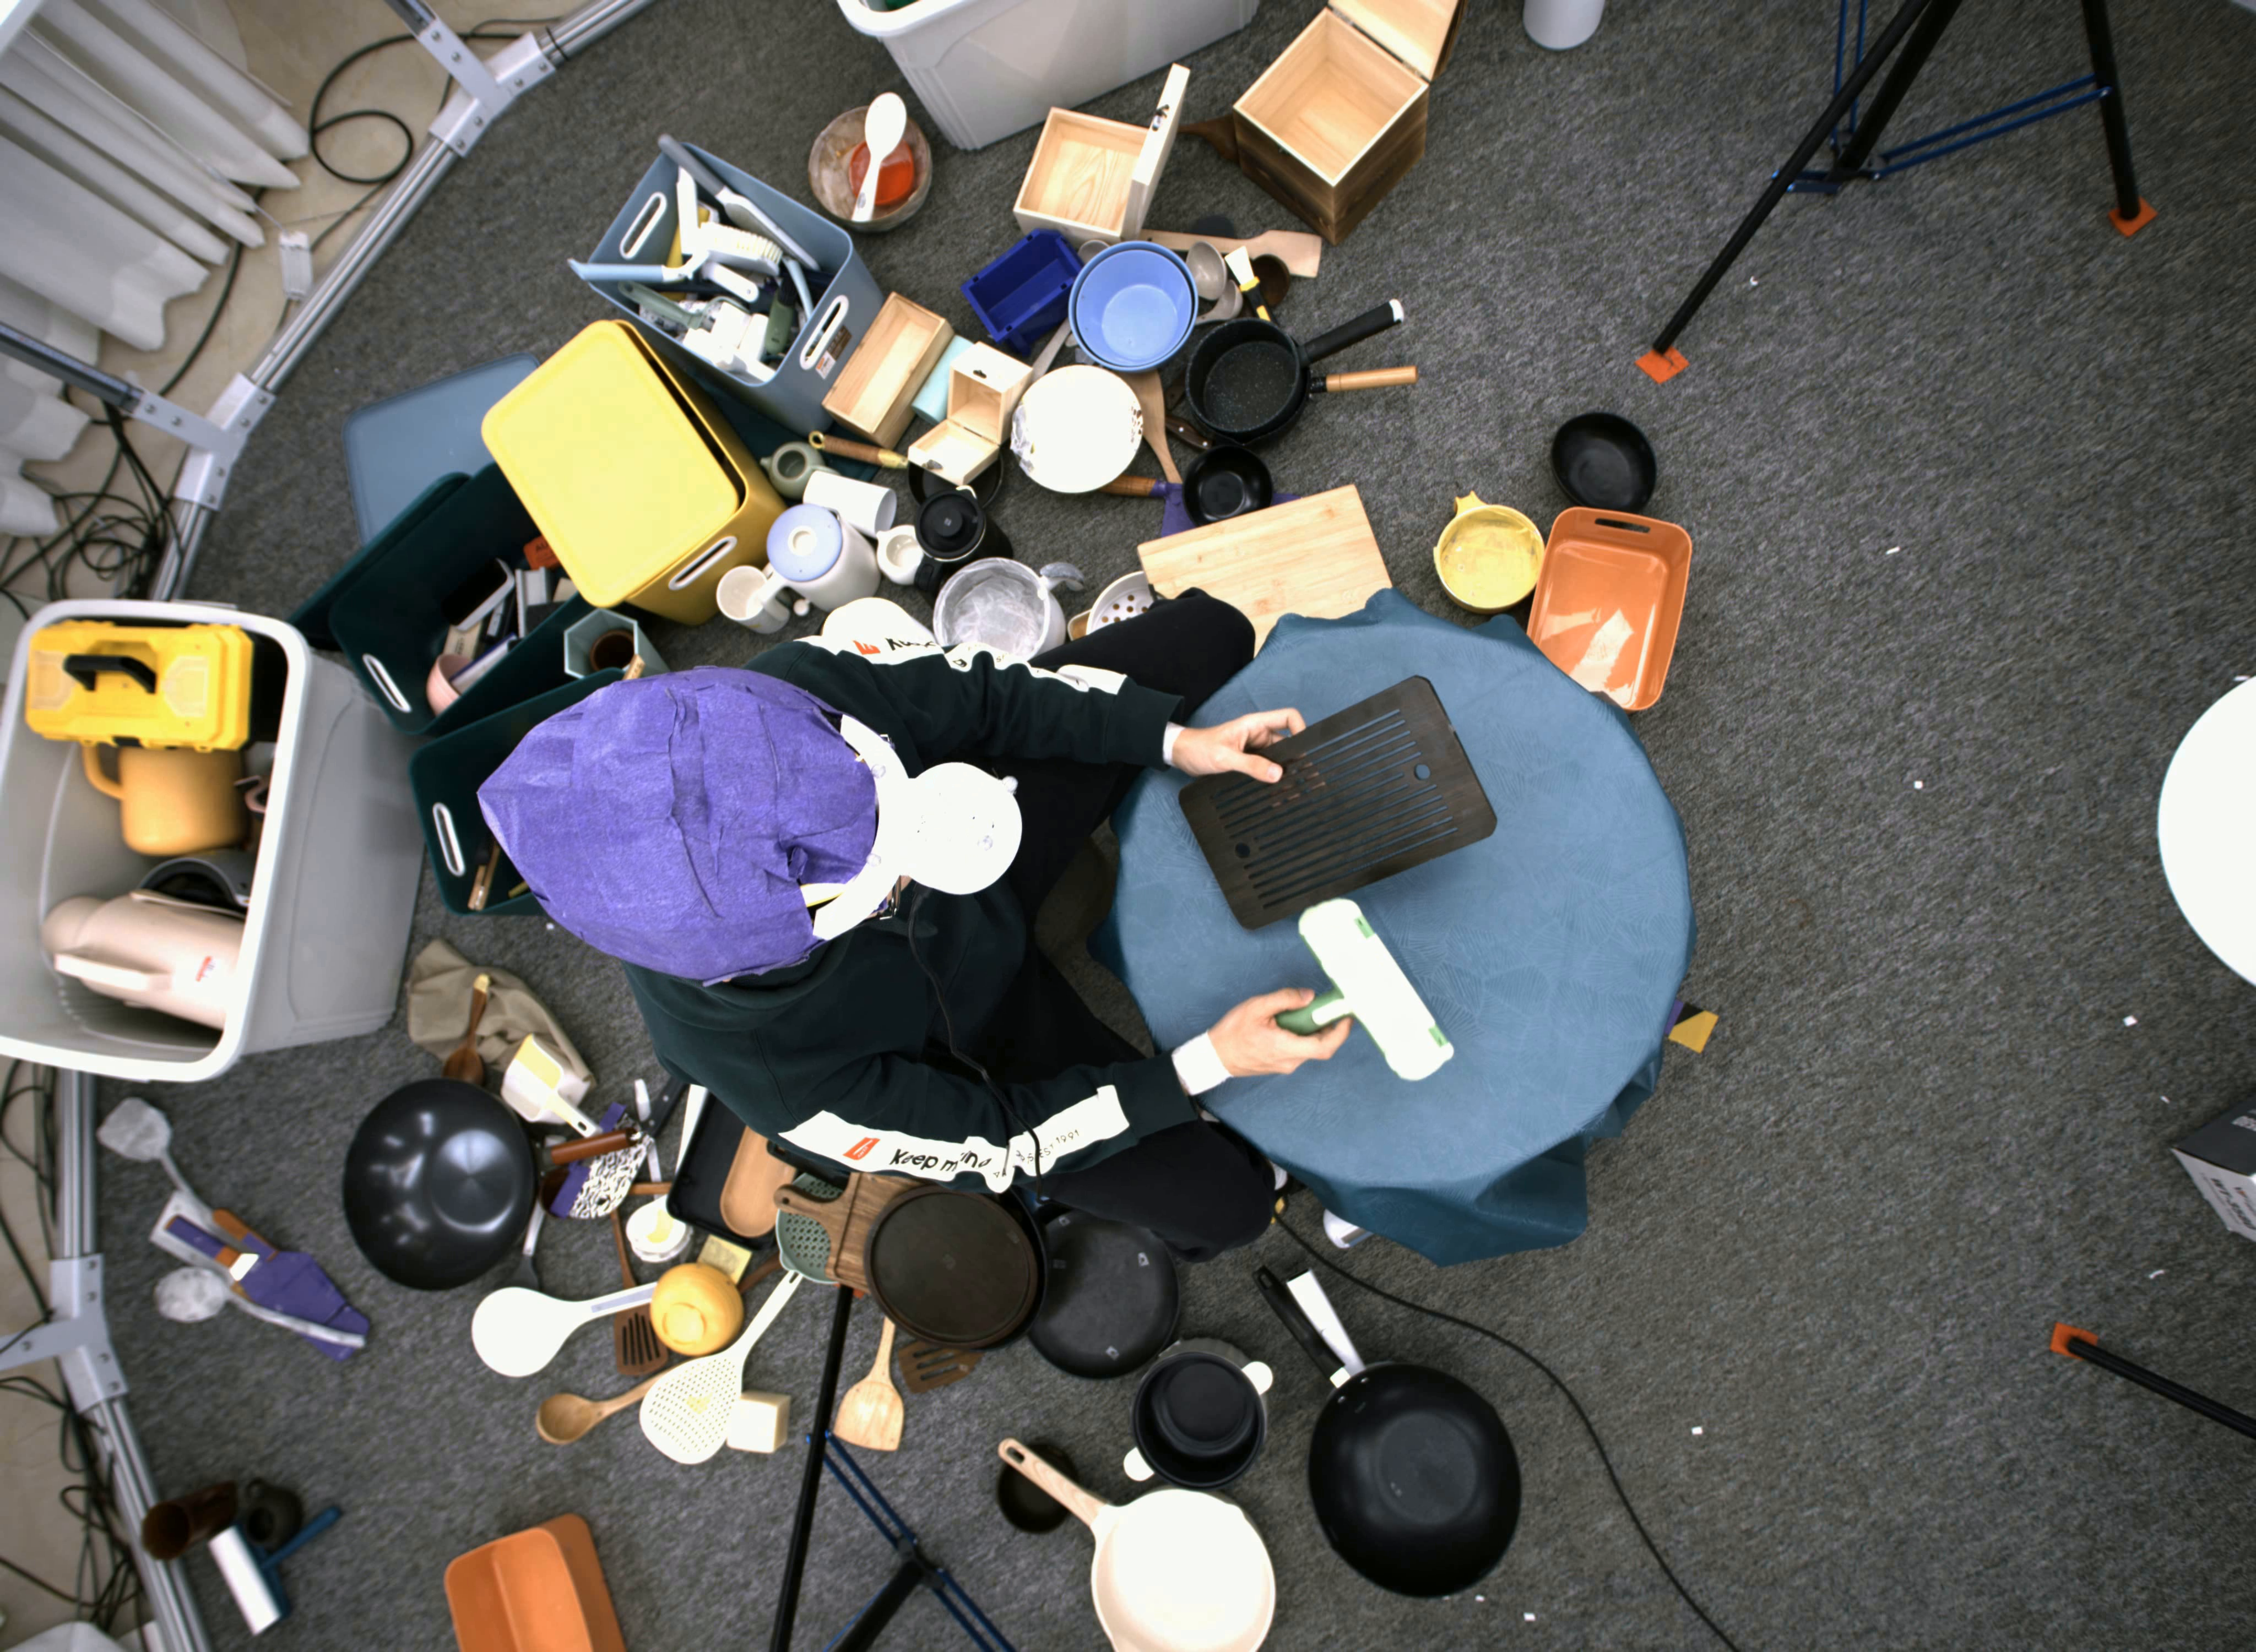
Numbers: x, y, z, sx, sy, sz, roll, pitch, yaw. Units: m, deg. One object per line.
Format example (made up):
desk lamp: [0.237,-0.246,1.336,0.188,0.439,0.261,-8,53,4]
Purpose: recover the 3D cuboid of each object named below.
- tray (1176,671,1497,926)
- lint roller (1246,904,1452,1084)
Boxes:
tray: [0.202,-0.022,1.380,0.311,0.018,0.170,-25,96,35]
lint roller: [0.191,0.190,1.352,0.186,0.080,0.200,-30,106,21]
